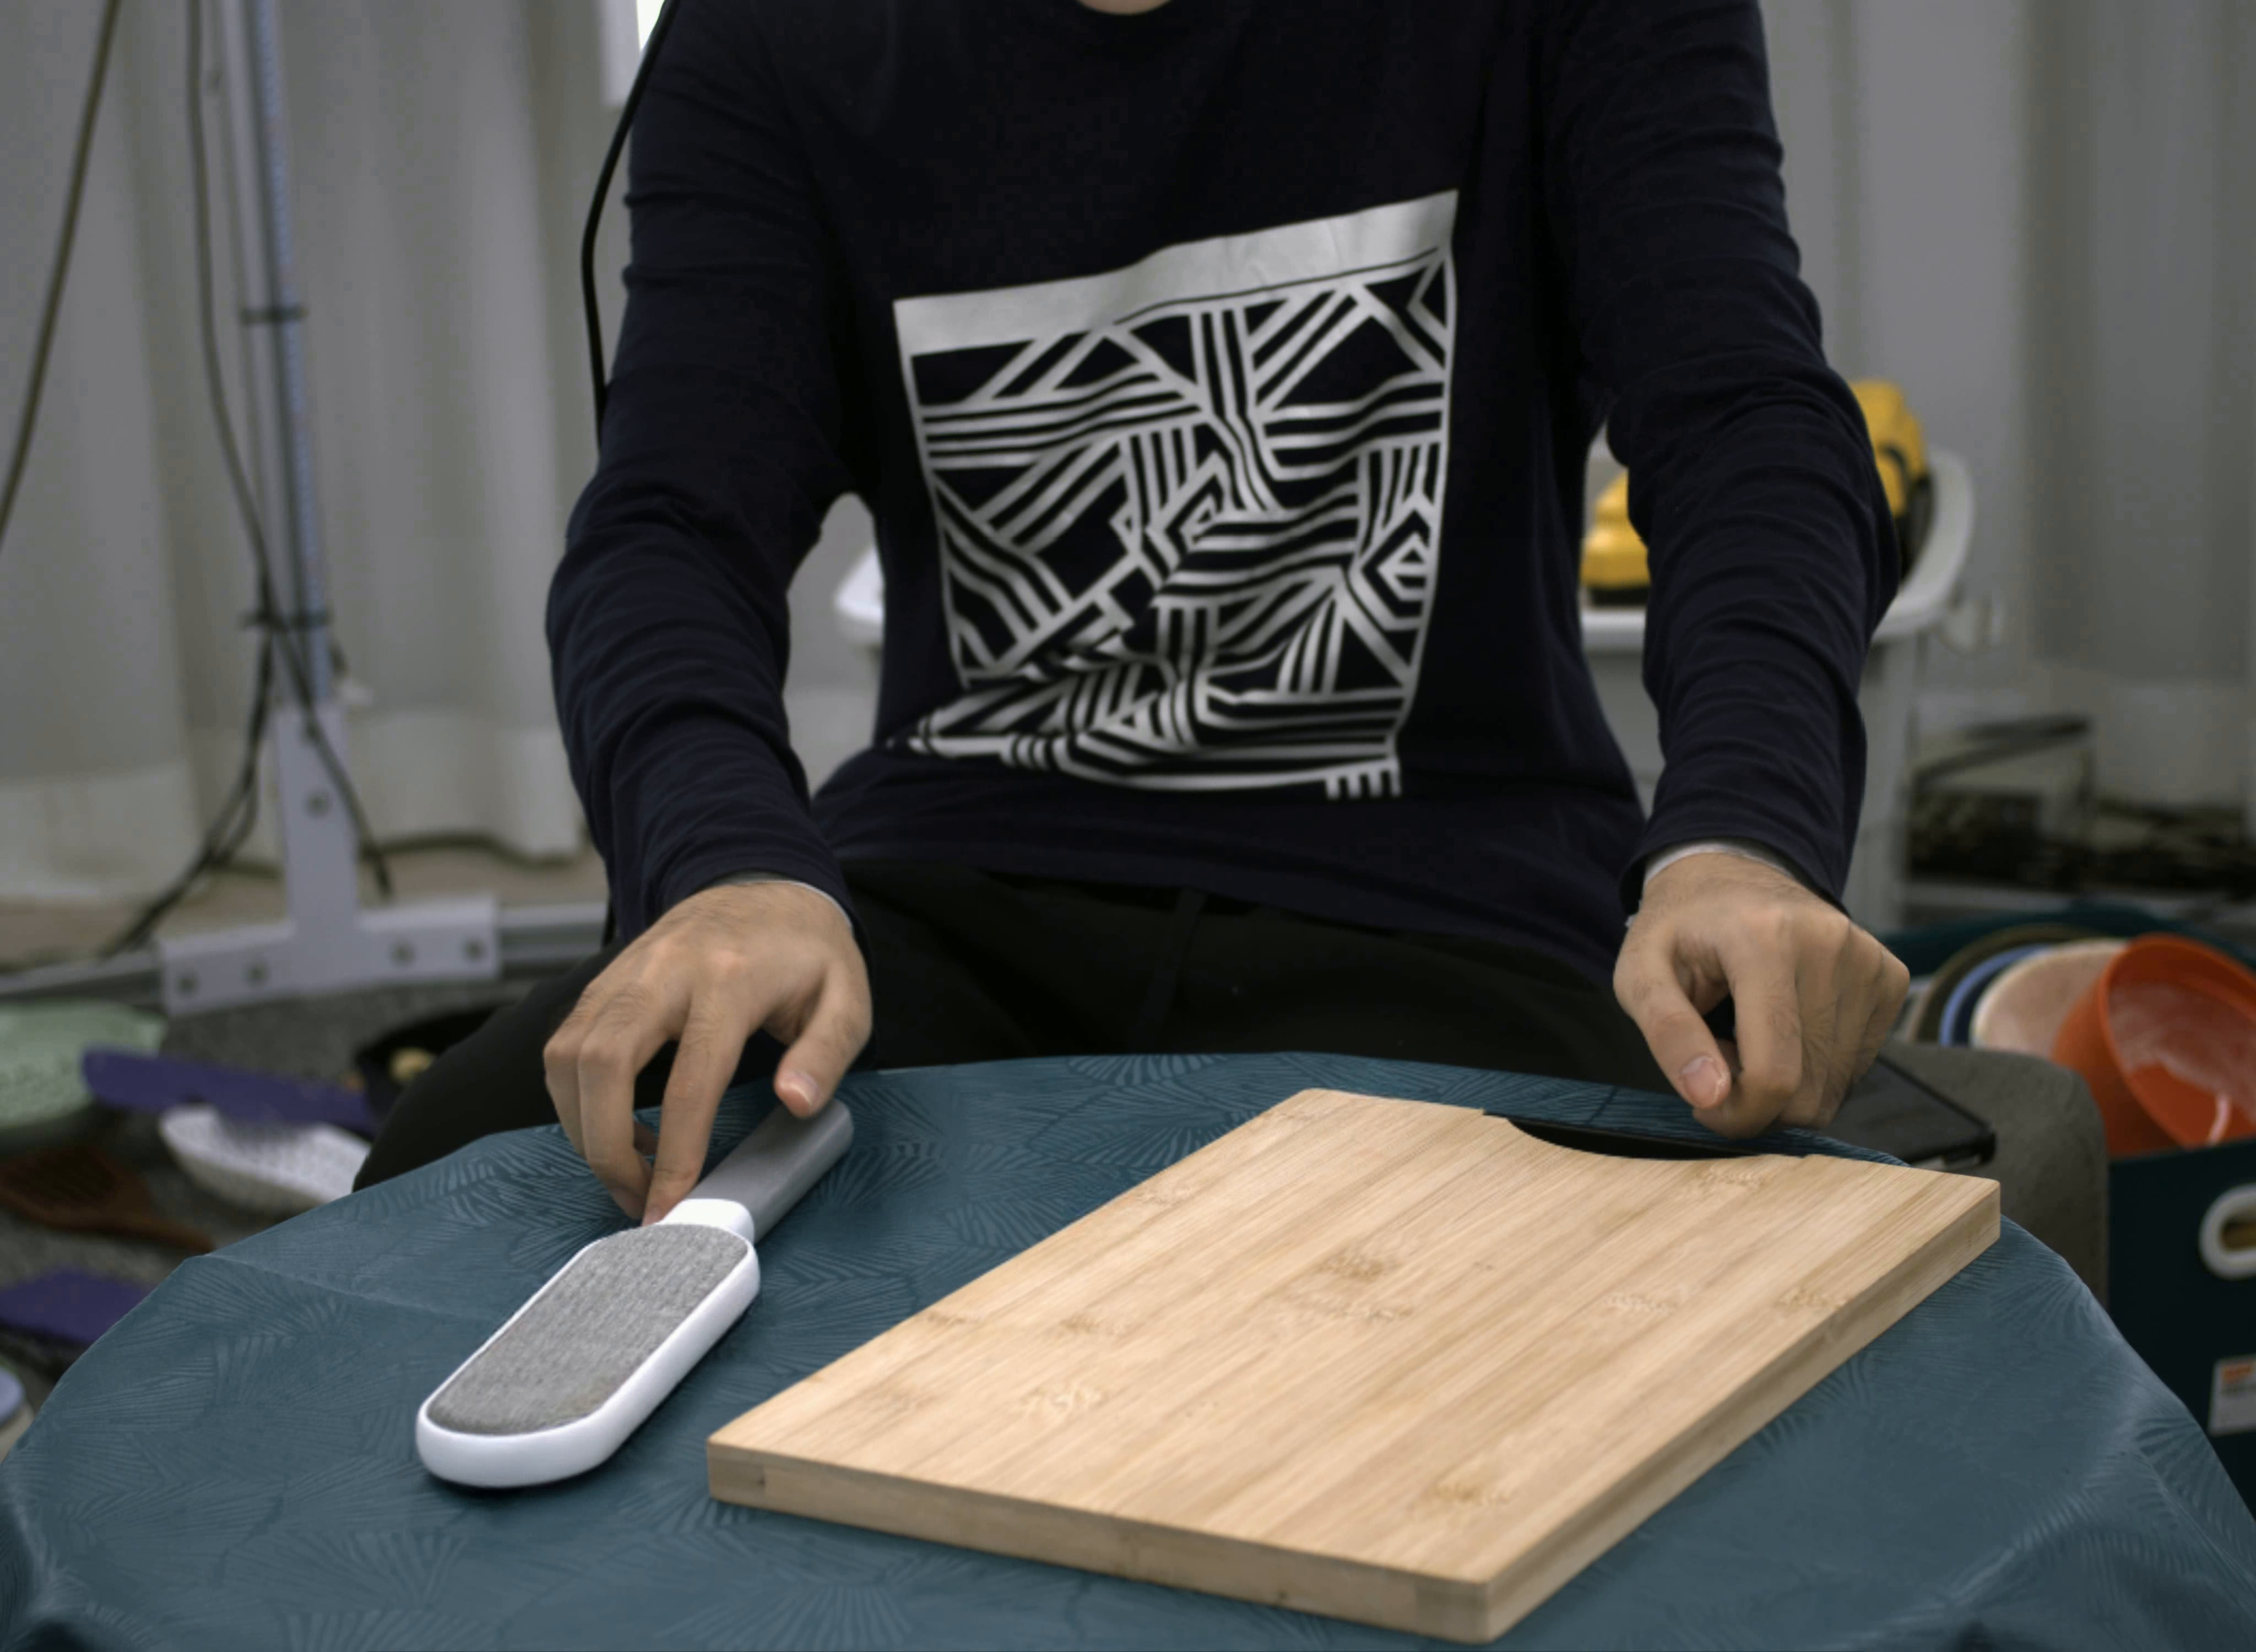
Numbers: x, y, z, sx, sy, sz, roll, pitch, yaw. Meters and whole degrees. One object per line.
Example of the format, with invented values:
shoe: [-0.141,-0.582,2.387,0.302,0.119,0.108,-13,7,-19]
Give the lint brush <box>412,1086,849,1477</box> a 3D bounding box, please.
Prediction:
lint brush: [-0.137,0.131,1.627,0.060,0.021,0.310,-4,14,16]

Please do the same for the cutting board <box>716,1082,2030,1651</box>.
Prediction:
cutting board: [0.077,0.144,1.561,0.251,0.023,0.349,6,17,30]
